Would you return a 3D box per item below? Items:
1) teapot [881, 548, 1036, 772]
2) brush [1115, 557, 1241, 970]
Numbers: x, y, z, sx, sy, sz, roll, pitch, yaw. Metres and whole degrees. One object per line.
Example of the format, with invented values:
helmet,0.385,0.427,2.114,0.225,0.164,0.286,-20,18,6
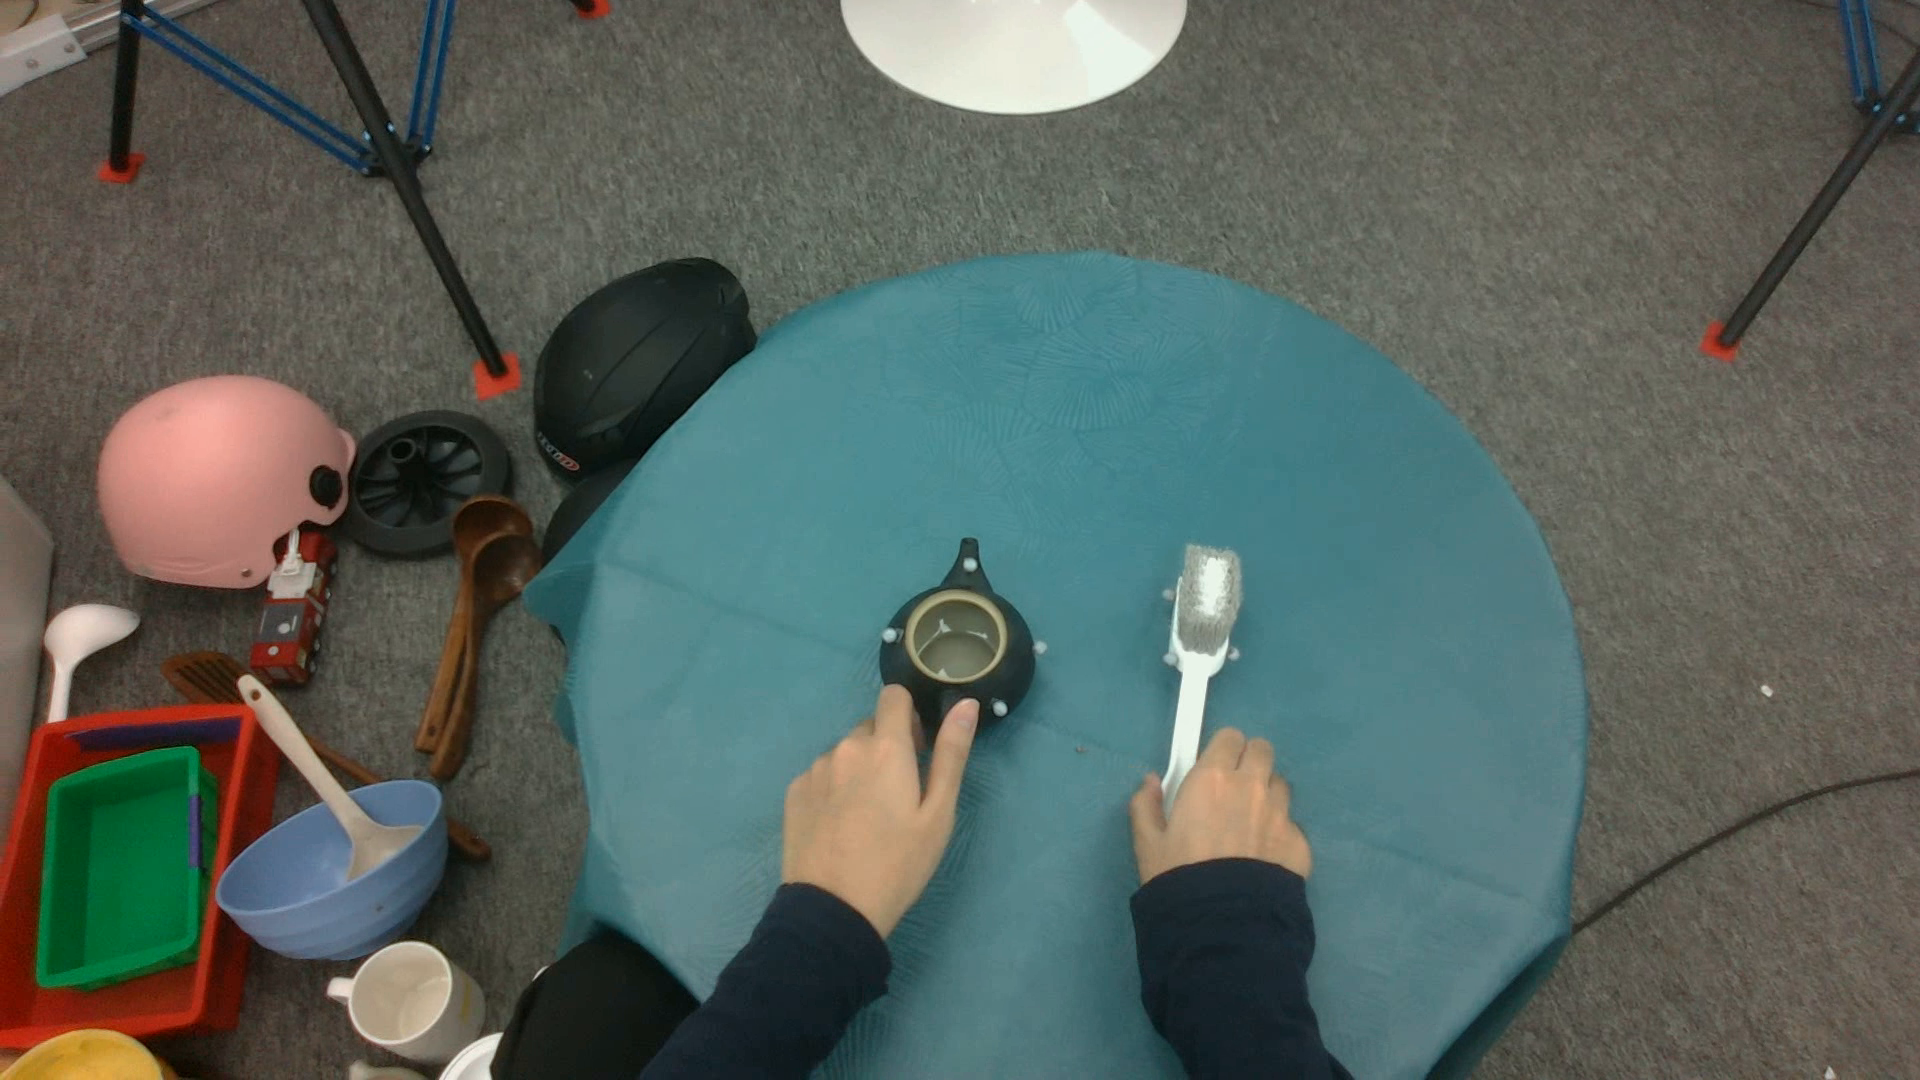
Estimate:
teapot,-0.001,0.073,0.802,0.091,0.053,0.134,3,59,6
brush,0.124,0.117,0.777,0.034,0.050,0.245,15,59,2
